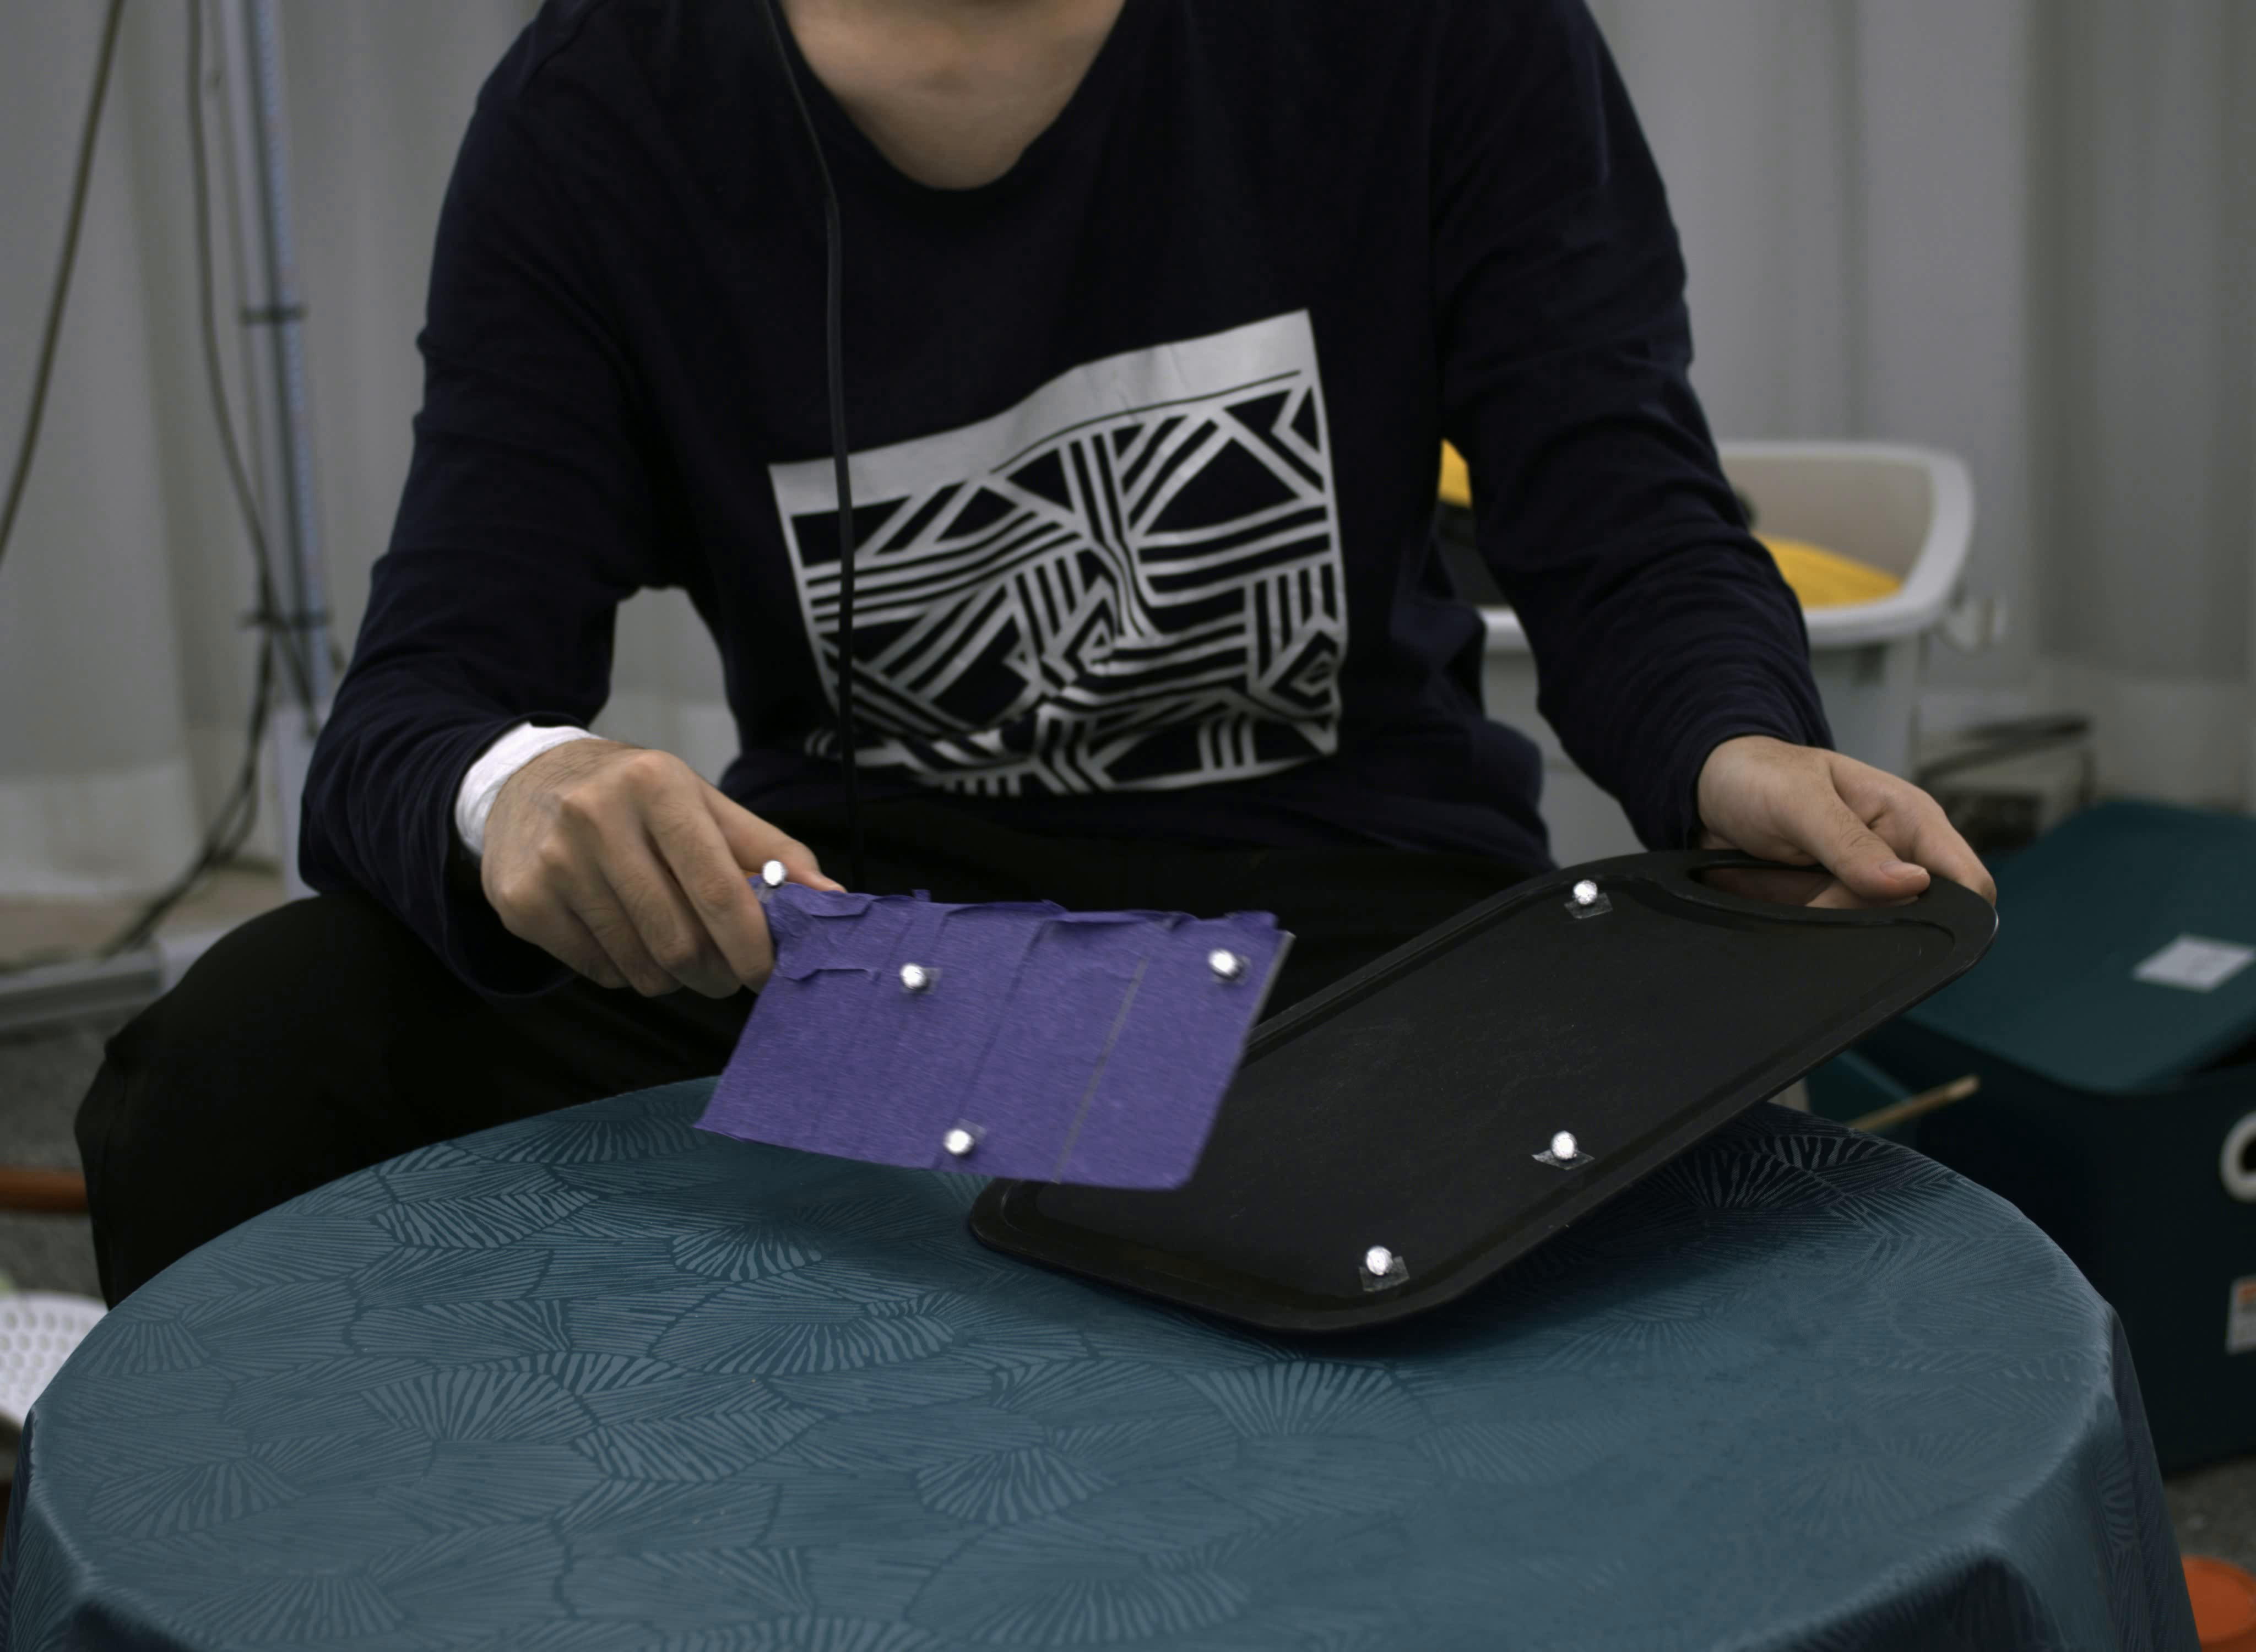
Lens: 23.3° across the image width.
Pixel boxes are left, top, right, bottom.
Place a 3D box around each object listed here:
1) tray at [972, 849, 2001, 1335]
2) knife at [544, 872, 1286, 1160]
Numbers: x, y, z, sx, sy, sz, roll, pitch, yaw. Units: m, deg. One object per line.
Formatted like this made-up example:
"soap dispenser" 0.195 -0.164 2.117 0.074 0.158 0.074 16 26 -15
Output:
"tray" 0.118 0.073 1.708 0.325 0.010 0.212 -28 24 -34
"knife" -0.084 0.056 1.684 0.316 0.032 0.105 0 56 45
